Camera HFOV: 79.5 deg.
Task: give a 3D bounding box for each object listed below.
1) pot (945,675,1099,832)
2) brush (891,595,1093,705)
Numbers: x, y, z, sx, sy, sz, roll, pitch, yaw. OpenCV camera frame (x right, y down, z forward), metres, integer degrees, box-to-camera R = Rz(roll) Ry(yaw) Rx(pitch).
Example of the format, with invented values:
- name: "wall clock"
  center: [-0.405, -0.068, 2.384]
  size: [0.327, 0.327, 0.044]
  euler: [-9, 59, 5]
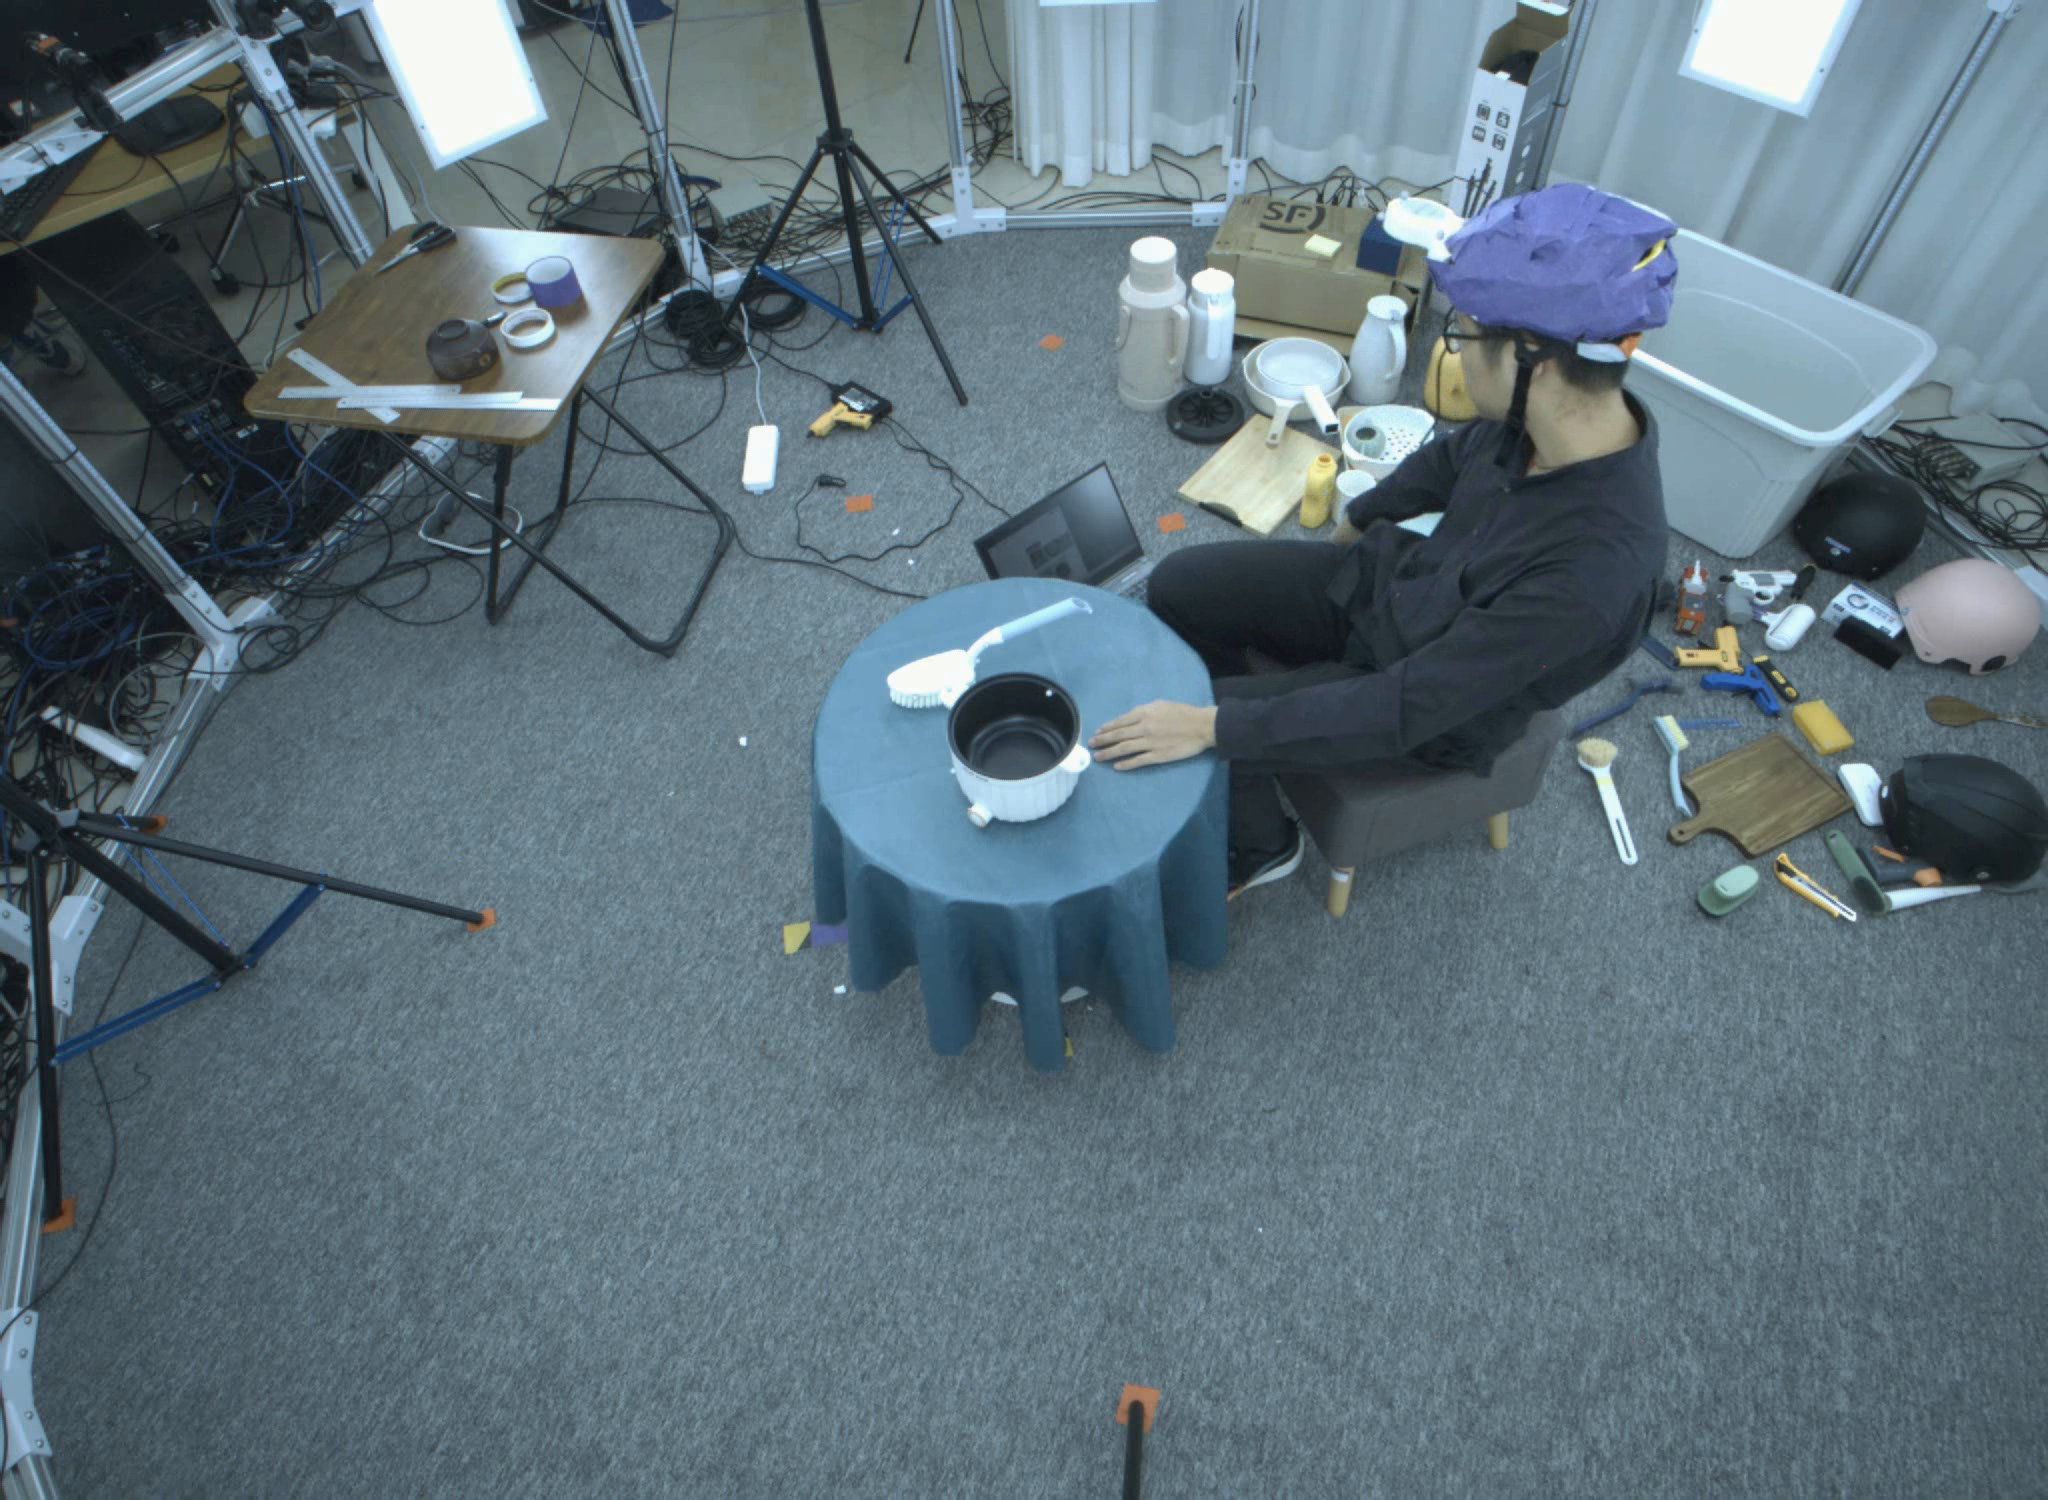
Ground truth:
- name: "pot"
  center: [-0.003, 0.013, 1.686]
  size: [0.236, 0.144, 0.191]
  euler: [27, 58, 22]
- name: "brush"
  center: [-0.042, -0.139, 1.836]
  size: [0.325, 0.084, 0.083]
  euler: [-22, 92, 1]
